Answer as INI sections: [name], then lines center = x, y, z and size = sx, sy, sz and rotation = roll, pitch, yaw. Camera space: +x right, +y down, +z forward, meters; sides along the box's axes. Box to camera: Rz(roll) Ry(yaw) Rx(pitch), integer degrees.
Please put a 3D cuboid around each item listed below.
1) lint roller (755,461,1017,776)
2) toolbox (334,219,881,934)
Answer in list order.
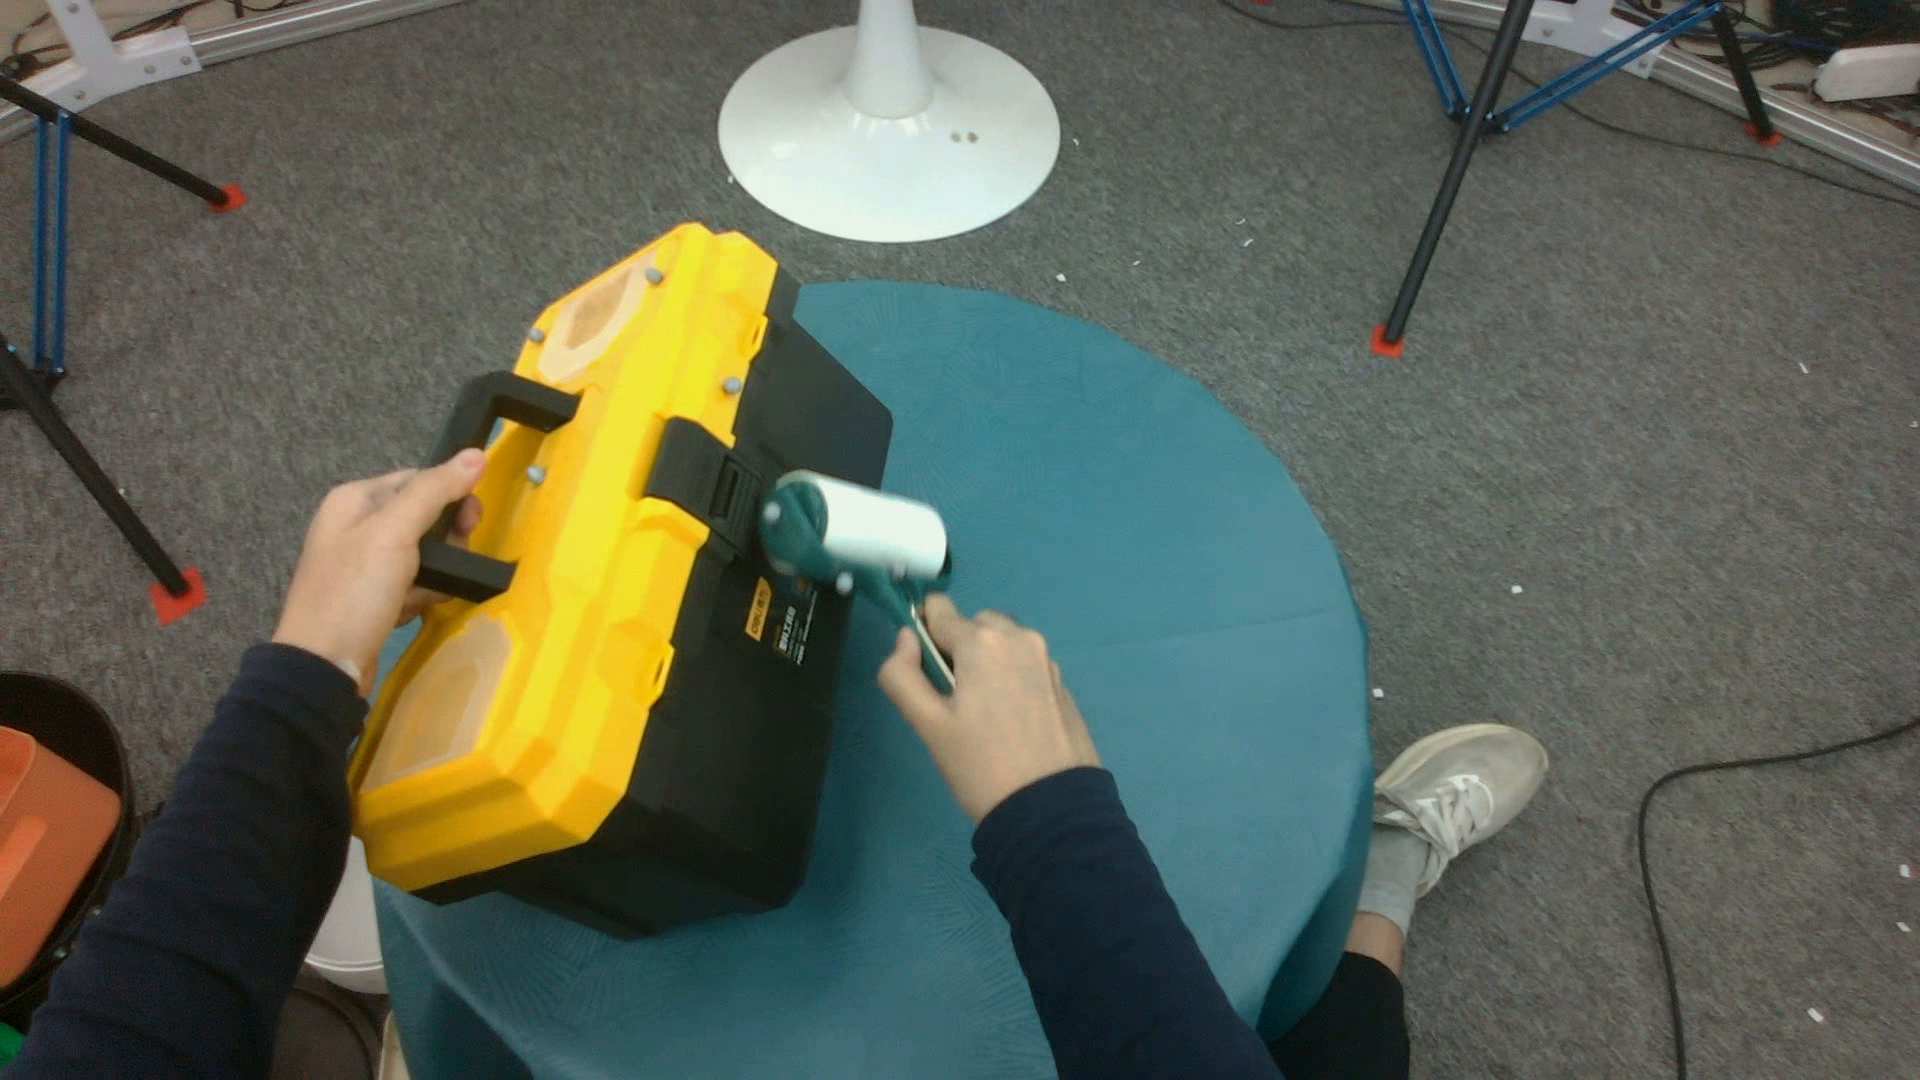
[lint roller]
center = -0.017, 0.035, 0.682
size = 0.048, 0.134, 0.180
rotation = -51, 60, 17
[toolbox]
center = -0.160, 0.016, 0.717
size = 0.180, 0.172, 0.353
rotation = -21, 45, 33
